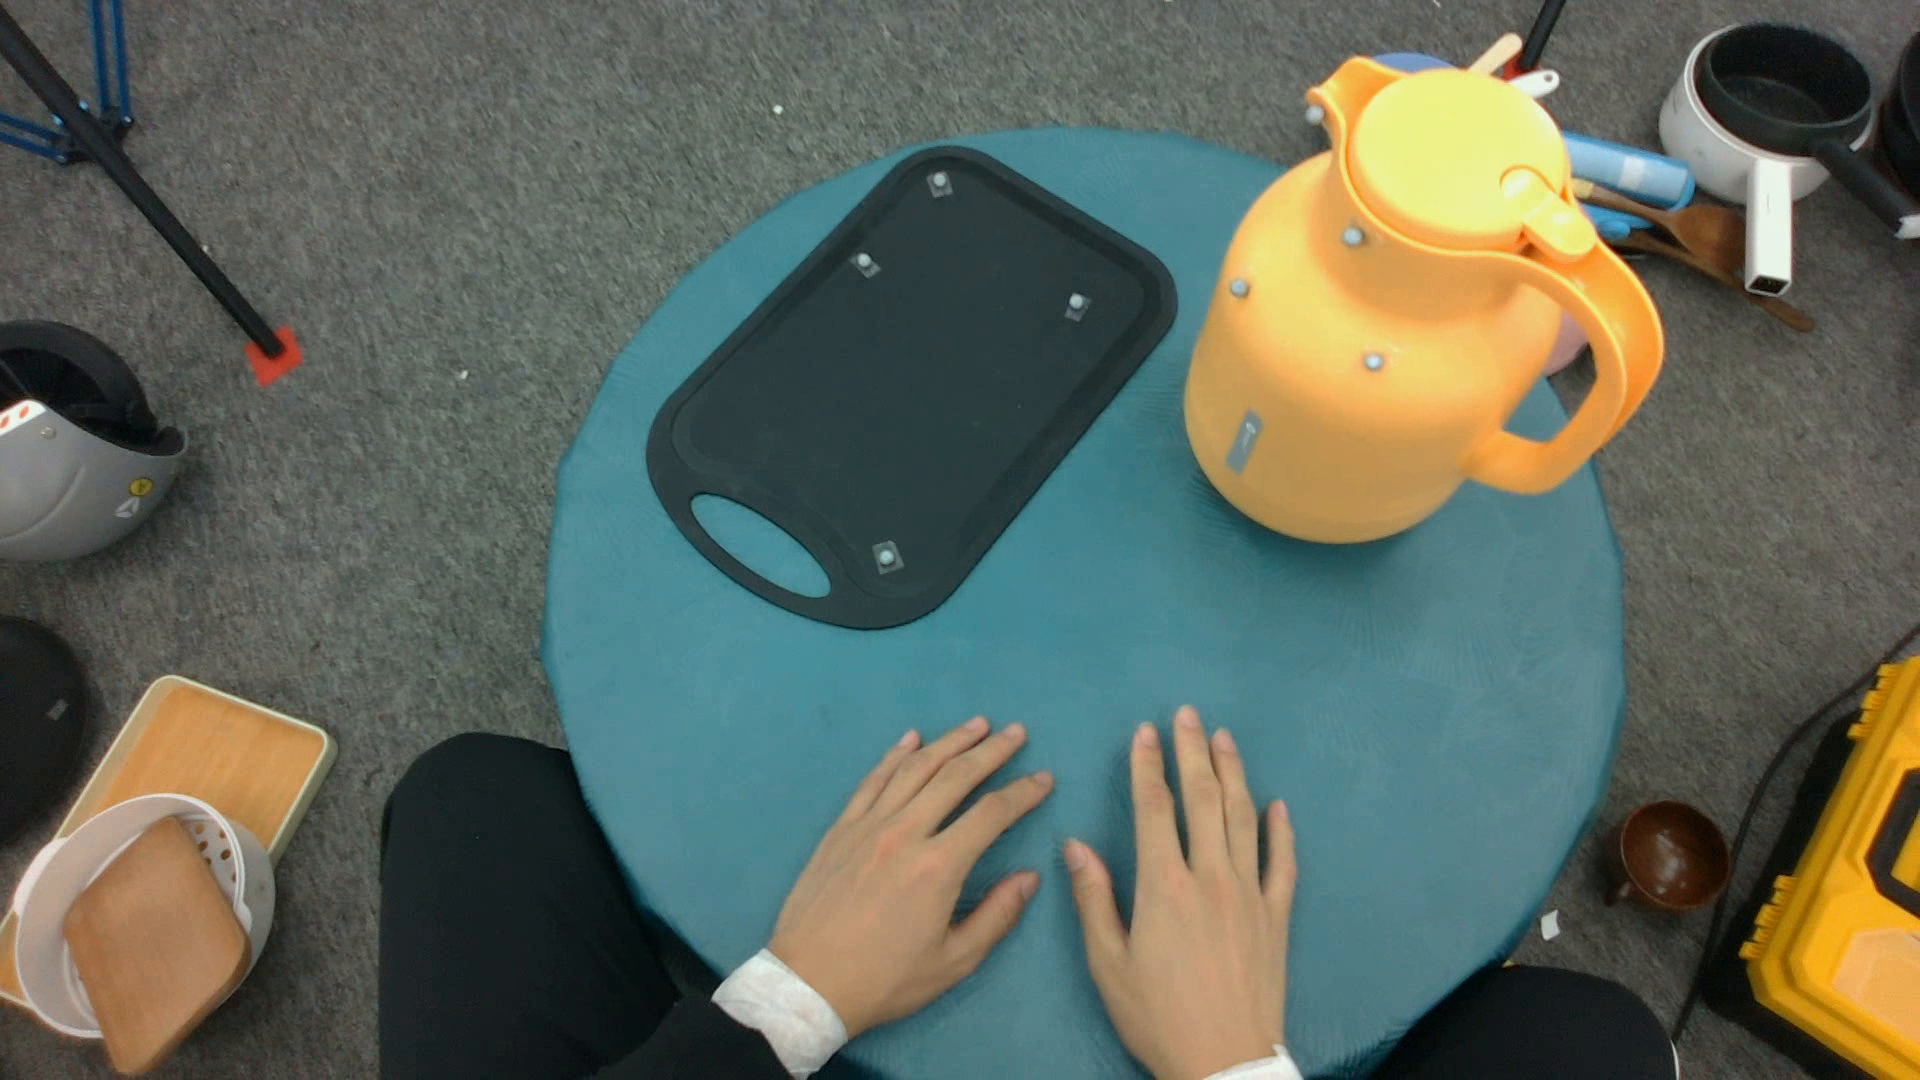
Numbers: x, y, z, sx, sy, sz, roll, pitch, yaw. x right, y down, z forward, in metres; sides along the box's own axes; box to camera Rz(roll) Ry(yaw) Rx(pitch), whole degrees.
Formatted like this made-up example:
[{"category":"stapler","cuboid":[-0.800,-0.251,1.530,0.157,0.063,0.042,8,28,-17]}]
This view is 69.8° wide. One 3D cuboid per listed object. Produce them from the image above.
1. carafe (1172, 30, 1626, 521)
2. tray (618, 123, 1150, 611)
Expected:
[{"category":"carafe","cuboid":[0.208,-0.111,0.679,0.164,0.259,0.202,-38,70,-13]},{"category":"tray","cuboid":[-0.044,-0.109,0.812,0.211,0.010,0.326,34,70,14]}]
